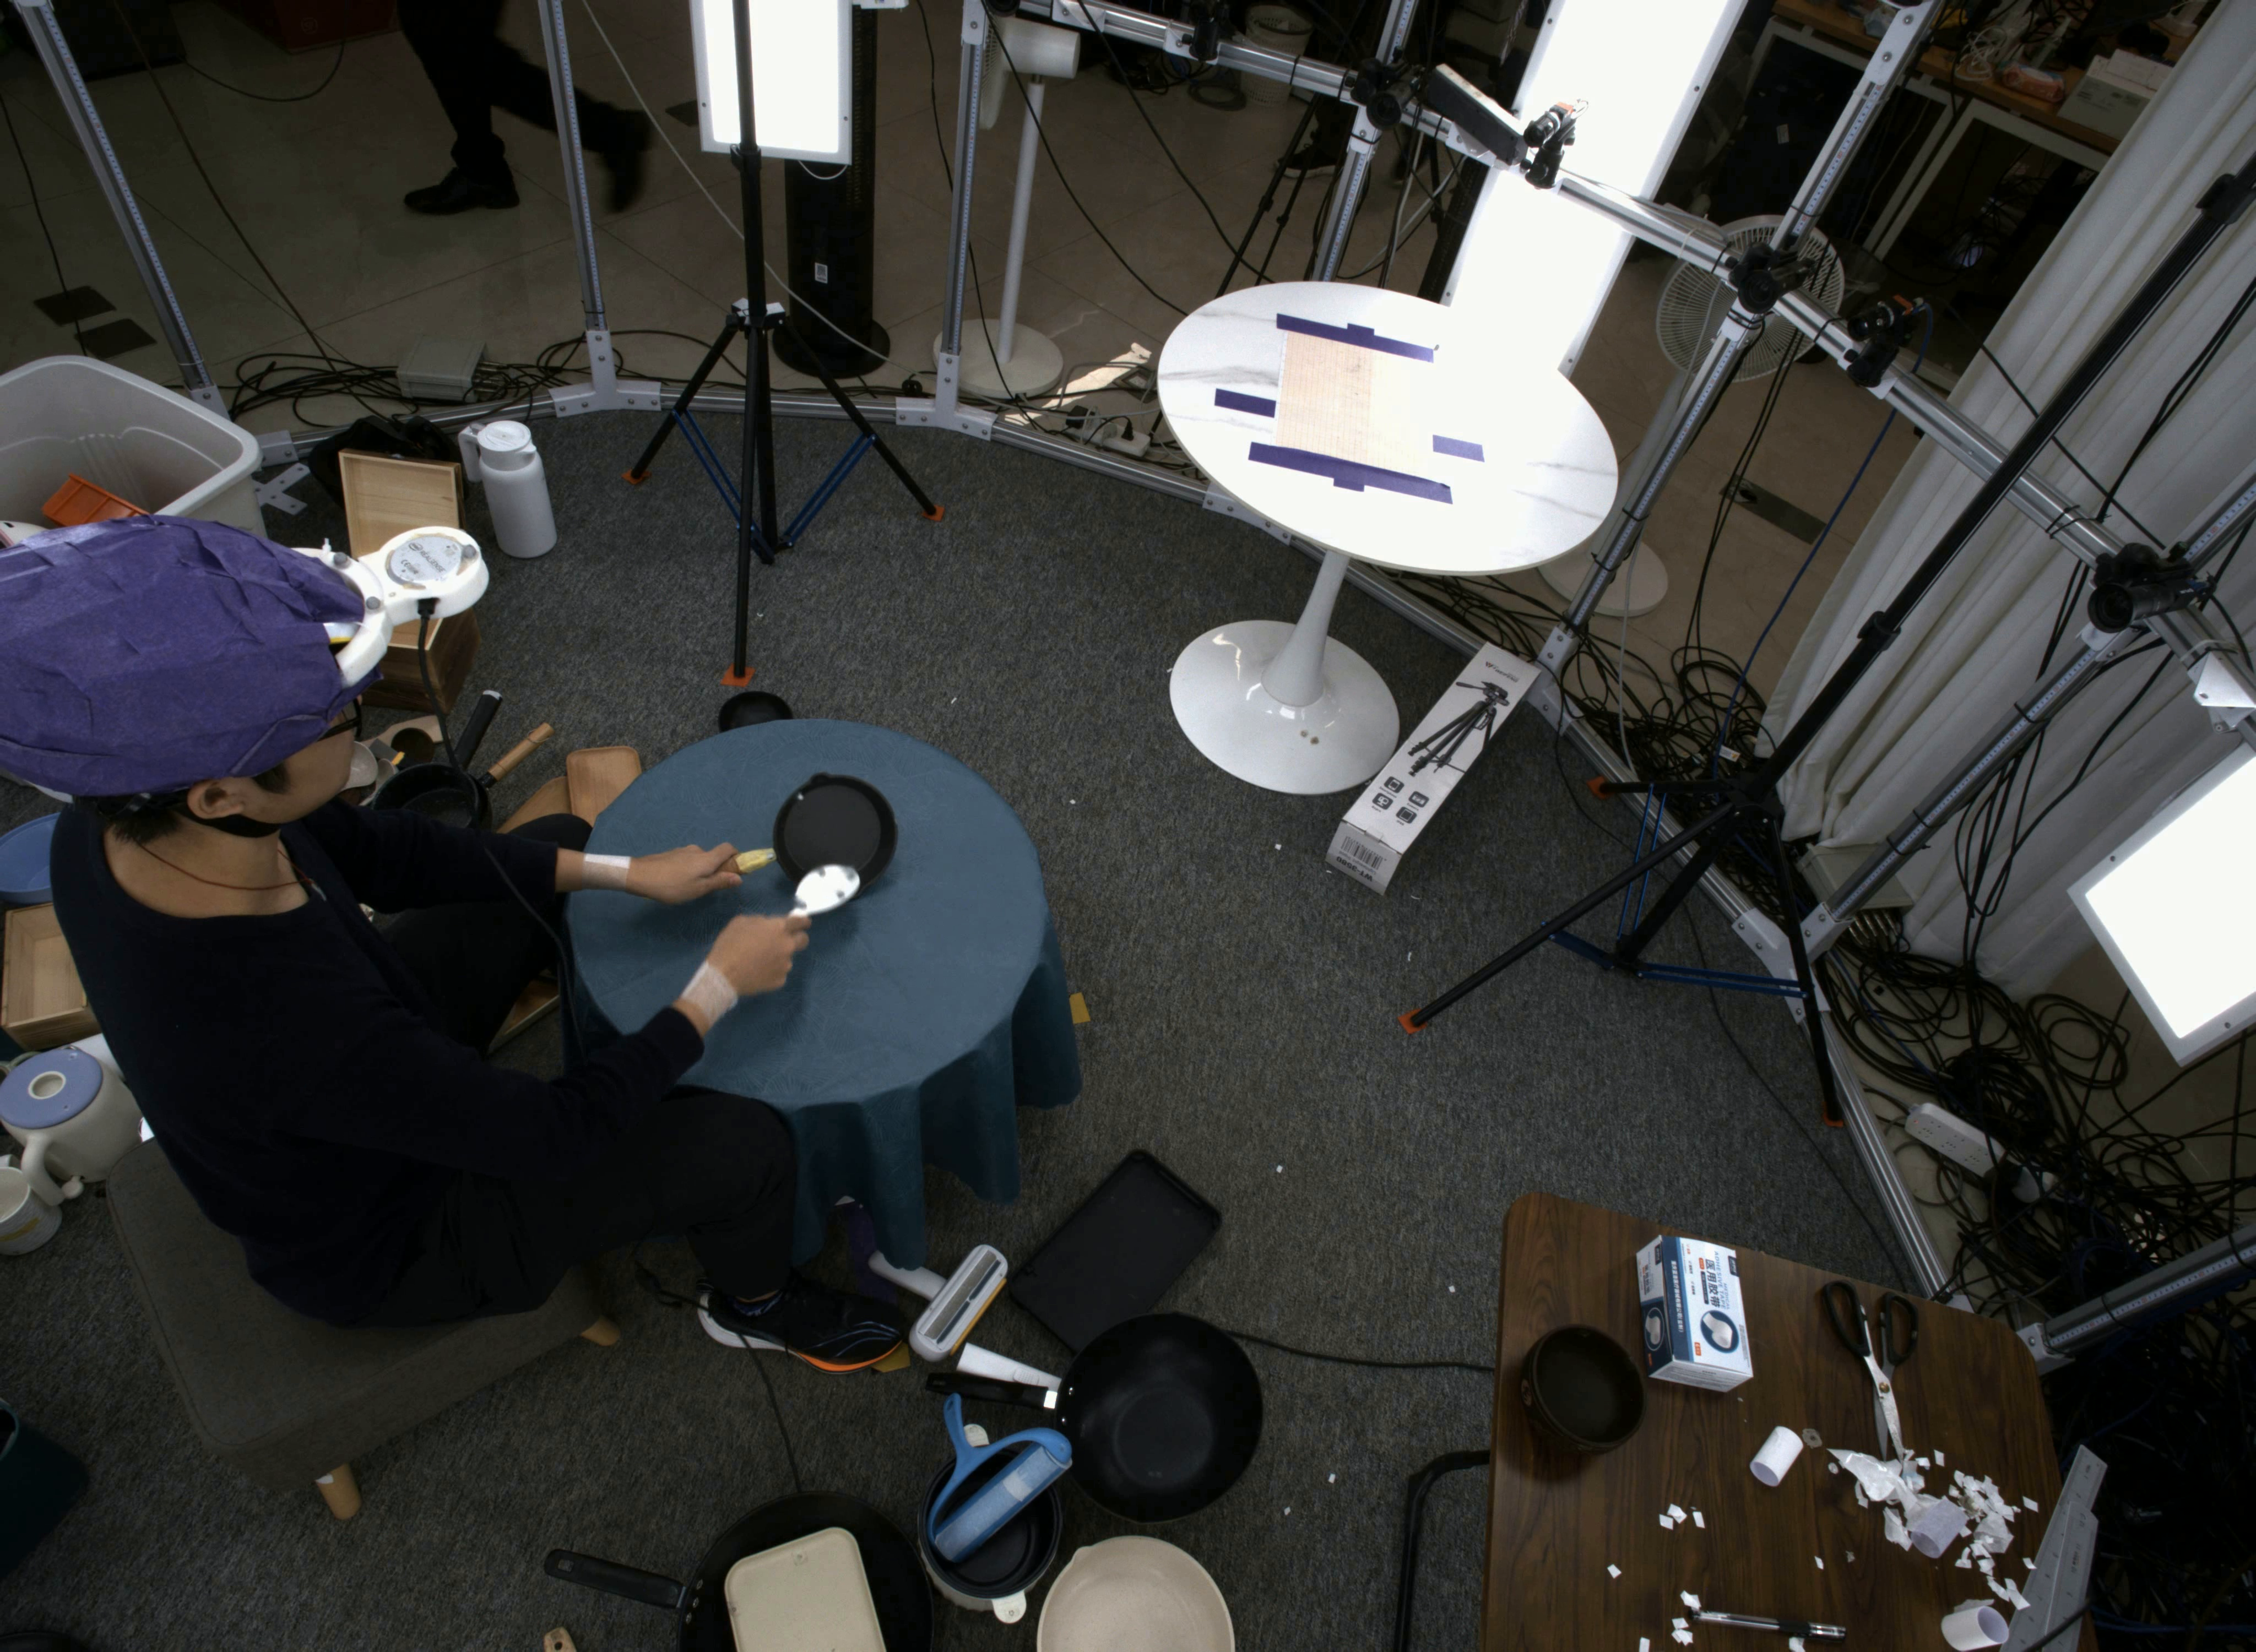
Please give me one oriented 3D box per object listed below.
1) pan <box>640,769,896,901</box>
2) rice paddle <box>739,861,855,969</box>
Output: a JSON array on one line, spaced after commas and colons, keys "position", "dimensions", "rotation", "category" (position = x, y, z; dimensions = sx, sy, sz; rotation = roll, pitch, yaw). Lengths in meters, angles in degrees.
[{"position": [-0.448, 0.032, 1.611], "dimensions": [0.325, 0.173, 0.048], "rotation": [-17, 18, -21], "category": "pan"}, {"position": [-0.398, 0.096, 1.562], "dimensions": [0.067, 0.030, 0.204], "rotation": [18, 38, 14], "category": "rice paddle"}]
